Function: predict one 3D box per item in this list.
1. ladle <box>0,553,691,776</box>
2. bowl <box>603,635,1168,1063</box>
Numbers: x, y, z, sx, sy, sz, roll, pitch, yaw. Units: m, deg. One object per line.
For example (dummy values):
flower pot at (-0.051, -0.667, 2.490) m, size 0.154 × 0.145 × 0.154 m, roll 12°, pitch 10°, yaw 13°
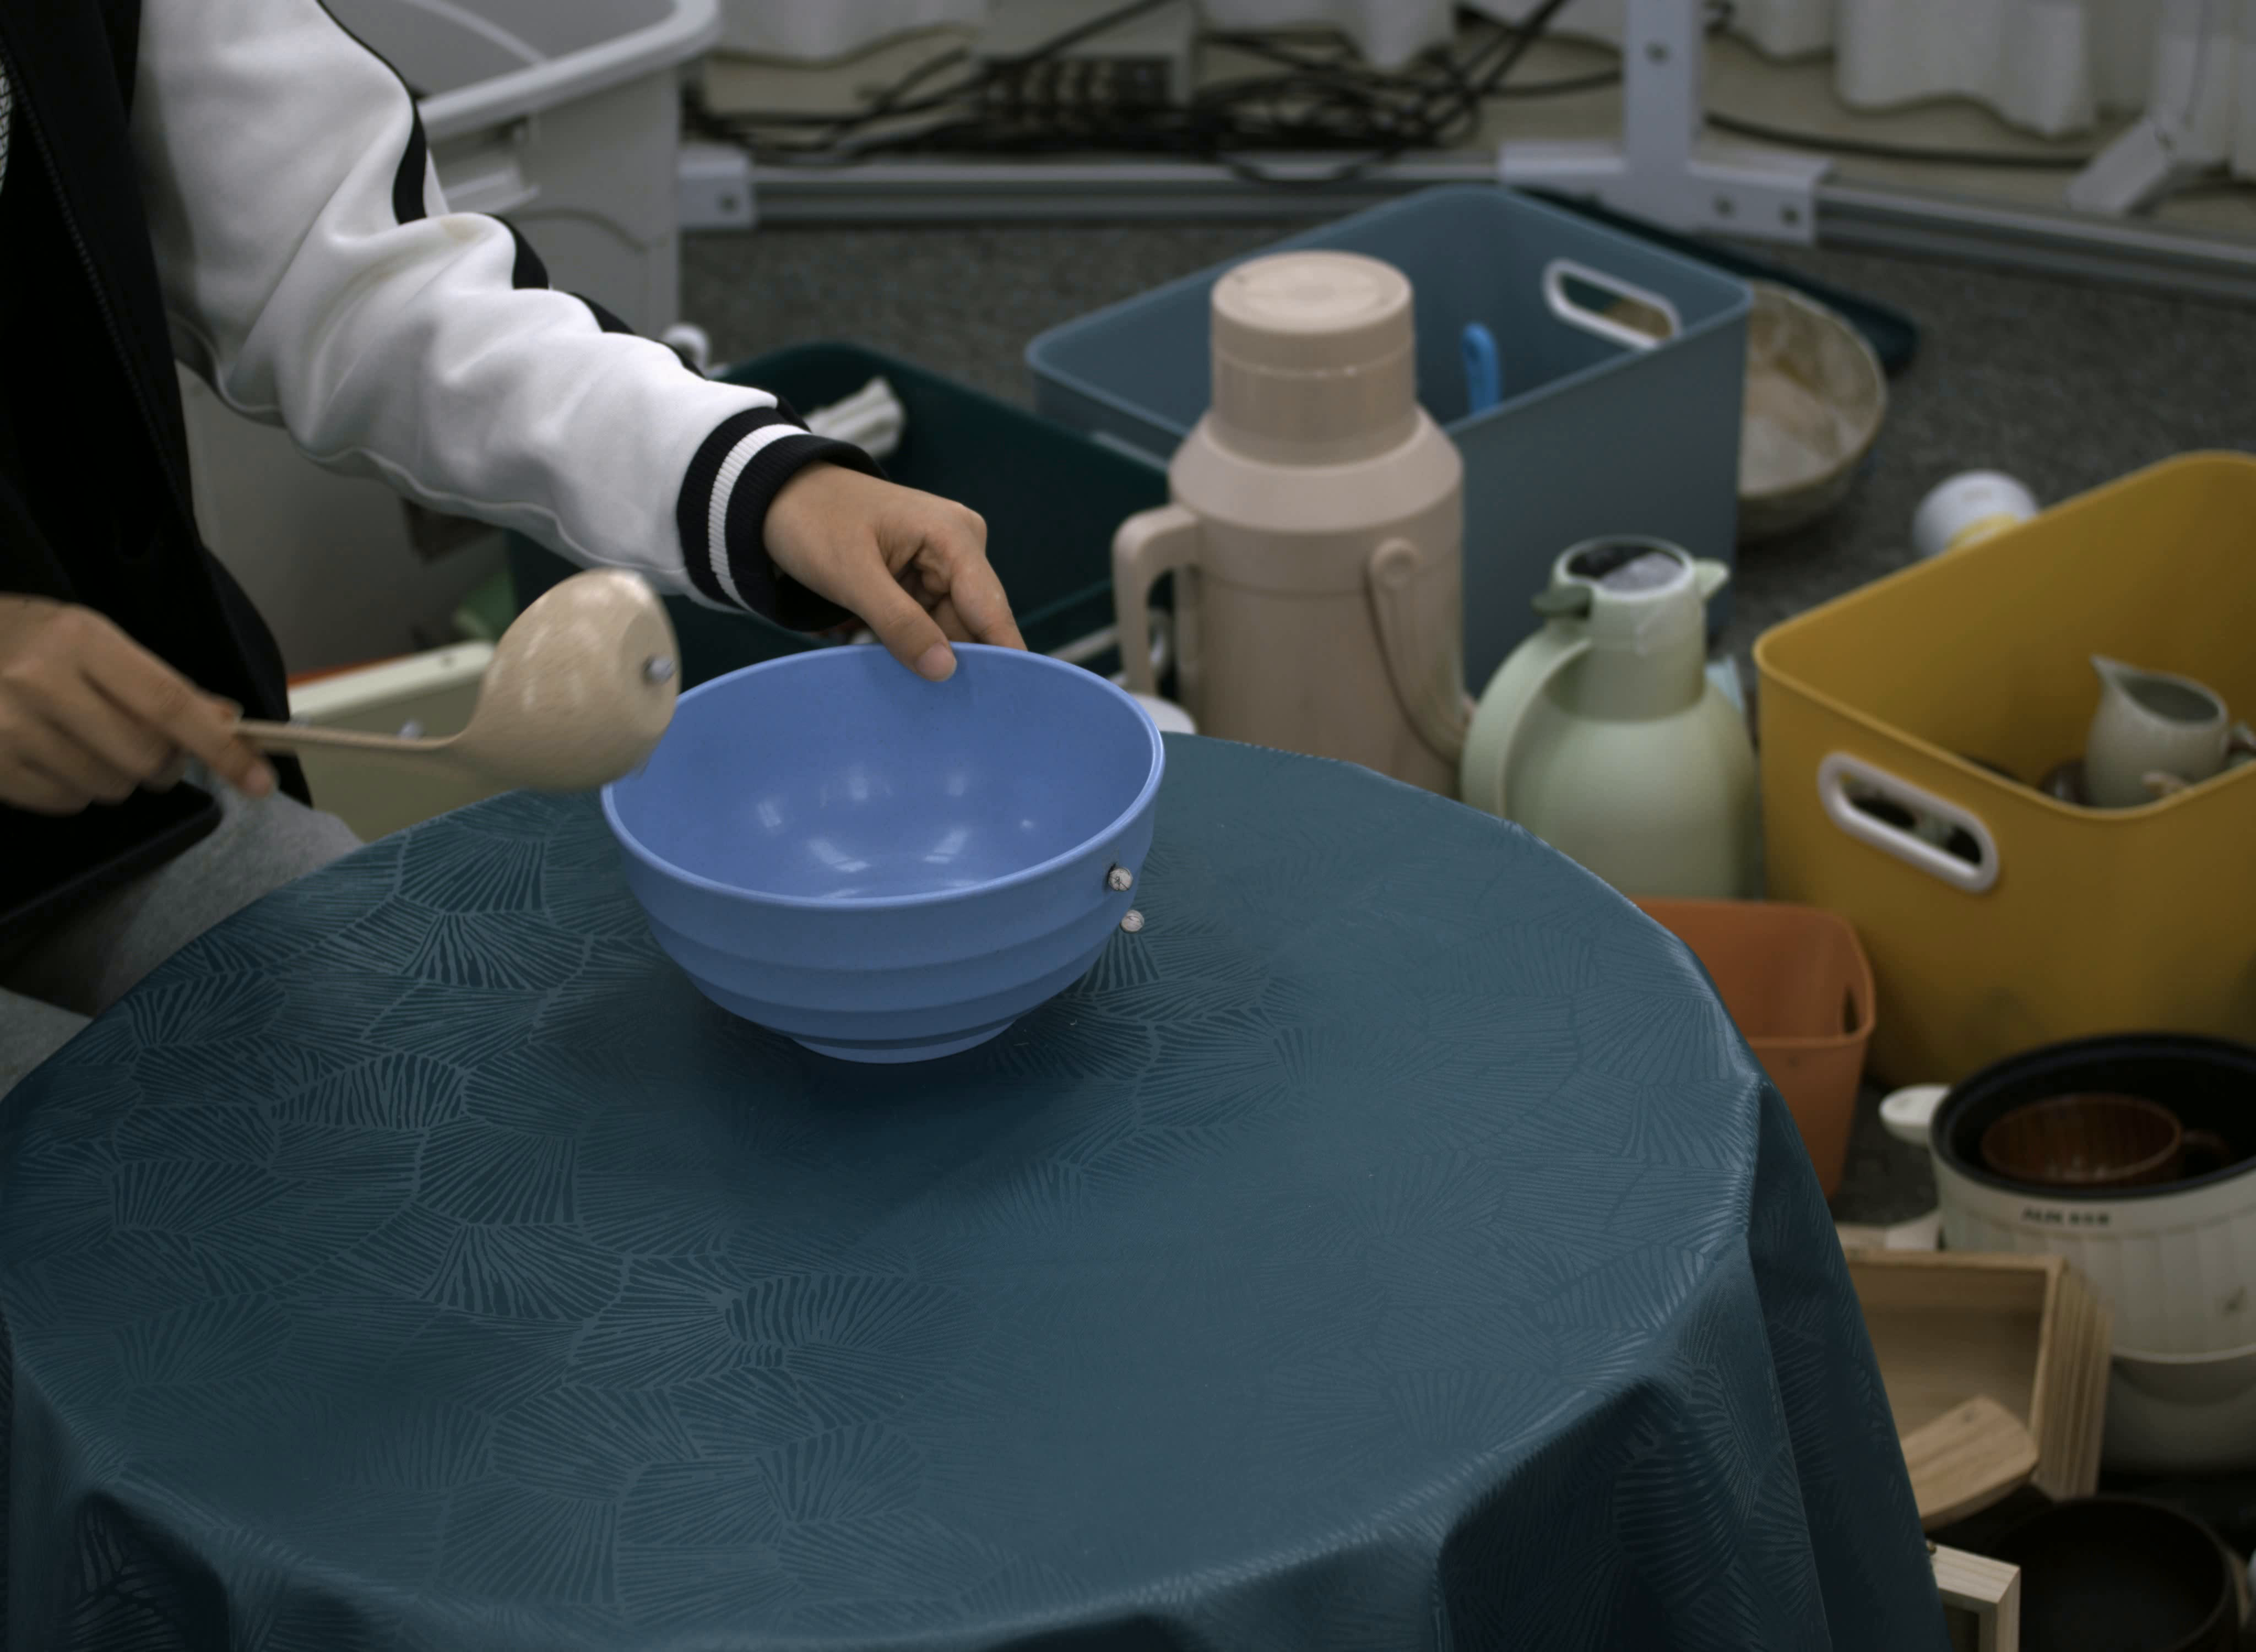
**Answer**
ladle at (-0.262, -0.057, 1.844) m, size 0.252 × 0.071 × 0.074 m, roll 3°, pitch 60°, yaw 25°
bowl at (-0.083, 0.020, 1.964) m, size 0.195 × 0.094 × 0.199 m, roll 0°, pitch 28°, yaw 1°
